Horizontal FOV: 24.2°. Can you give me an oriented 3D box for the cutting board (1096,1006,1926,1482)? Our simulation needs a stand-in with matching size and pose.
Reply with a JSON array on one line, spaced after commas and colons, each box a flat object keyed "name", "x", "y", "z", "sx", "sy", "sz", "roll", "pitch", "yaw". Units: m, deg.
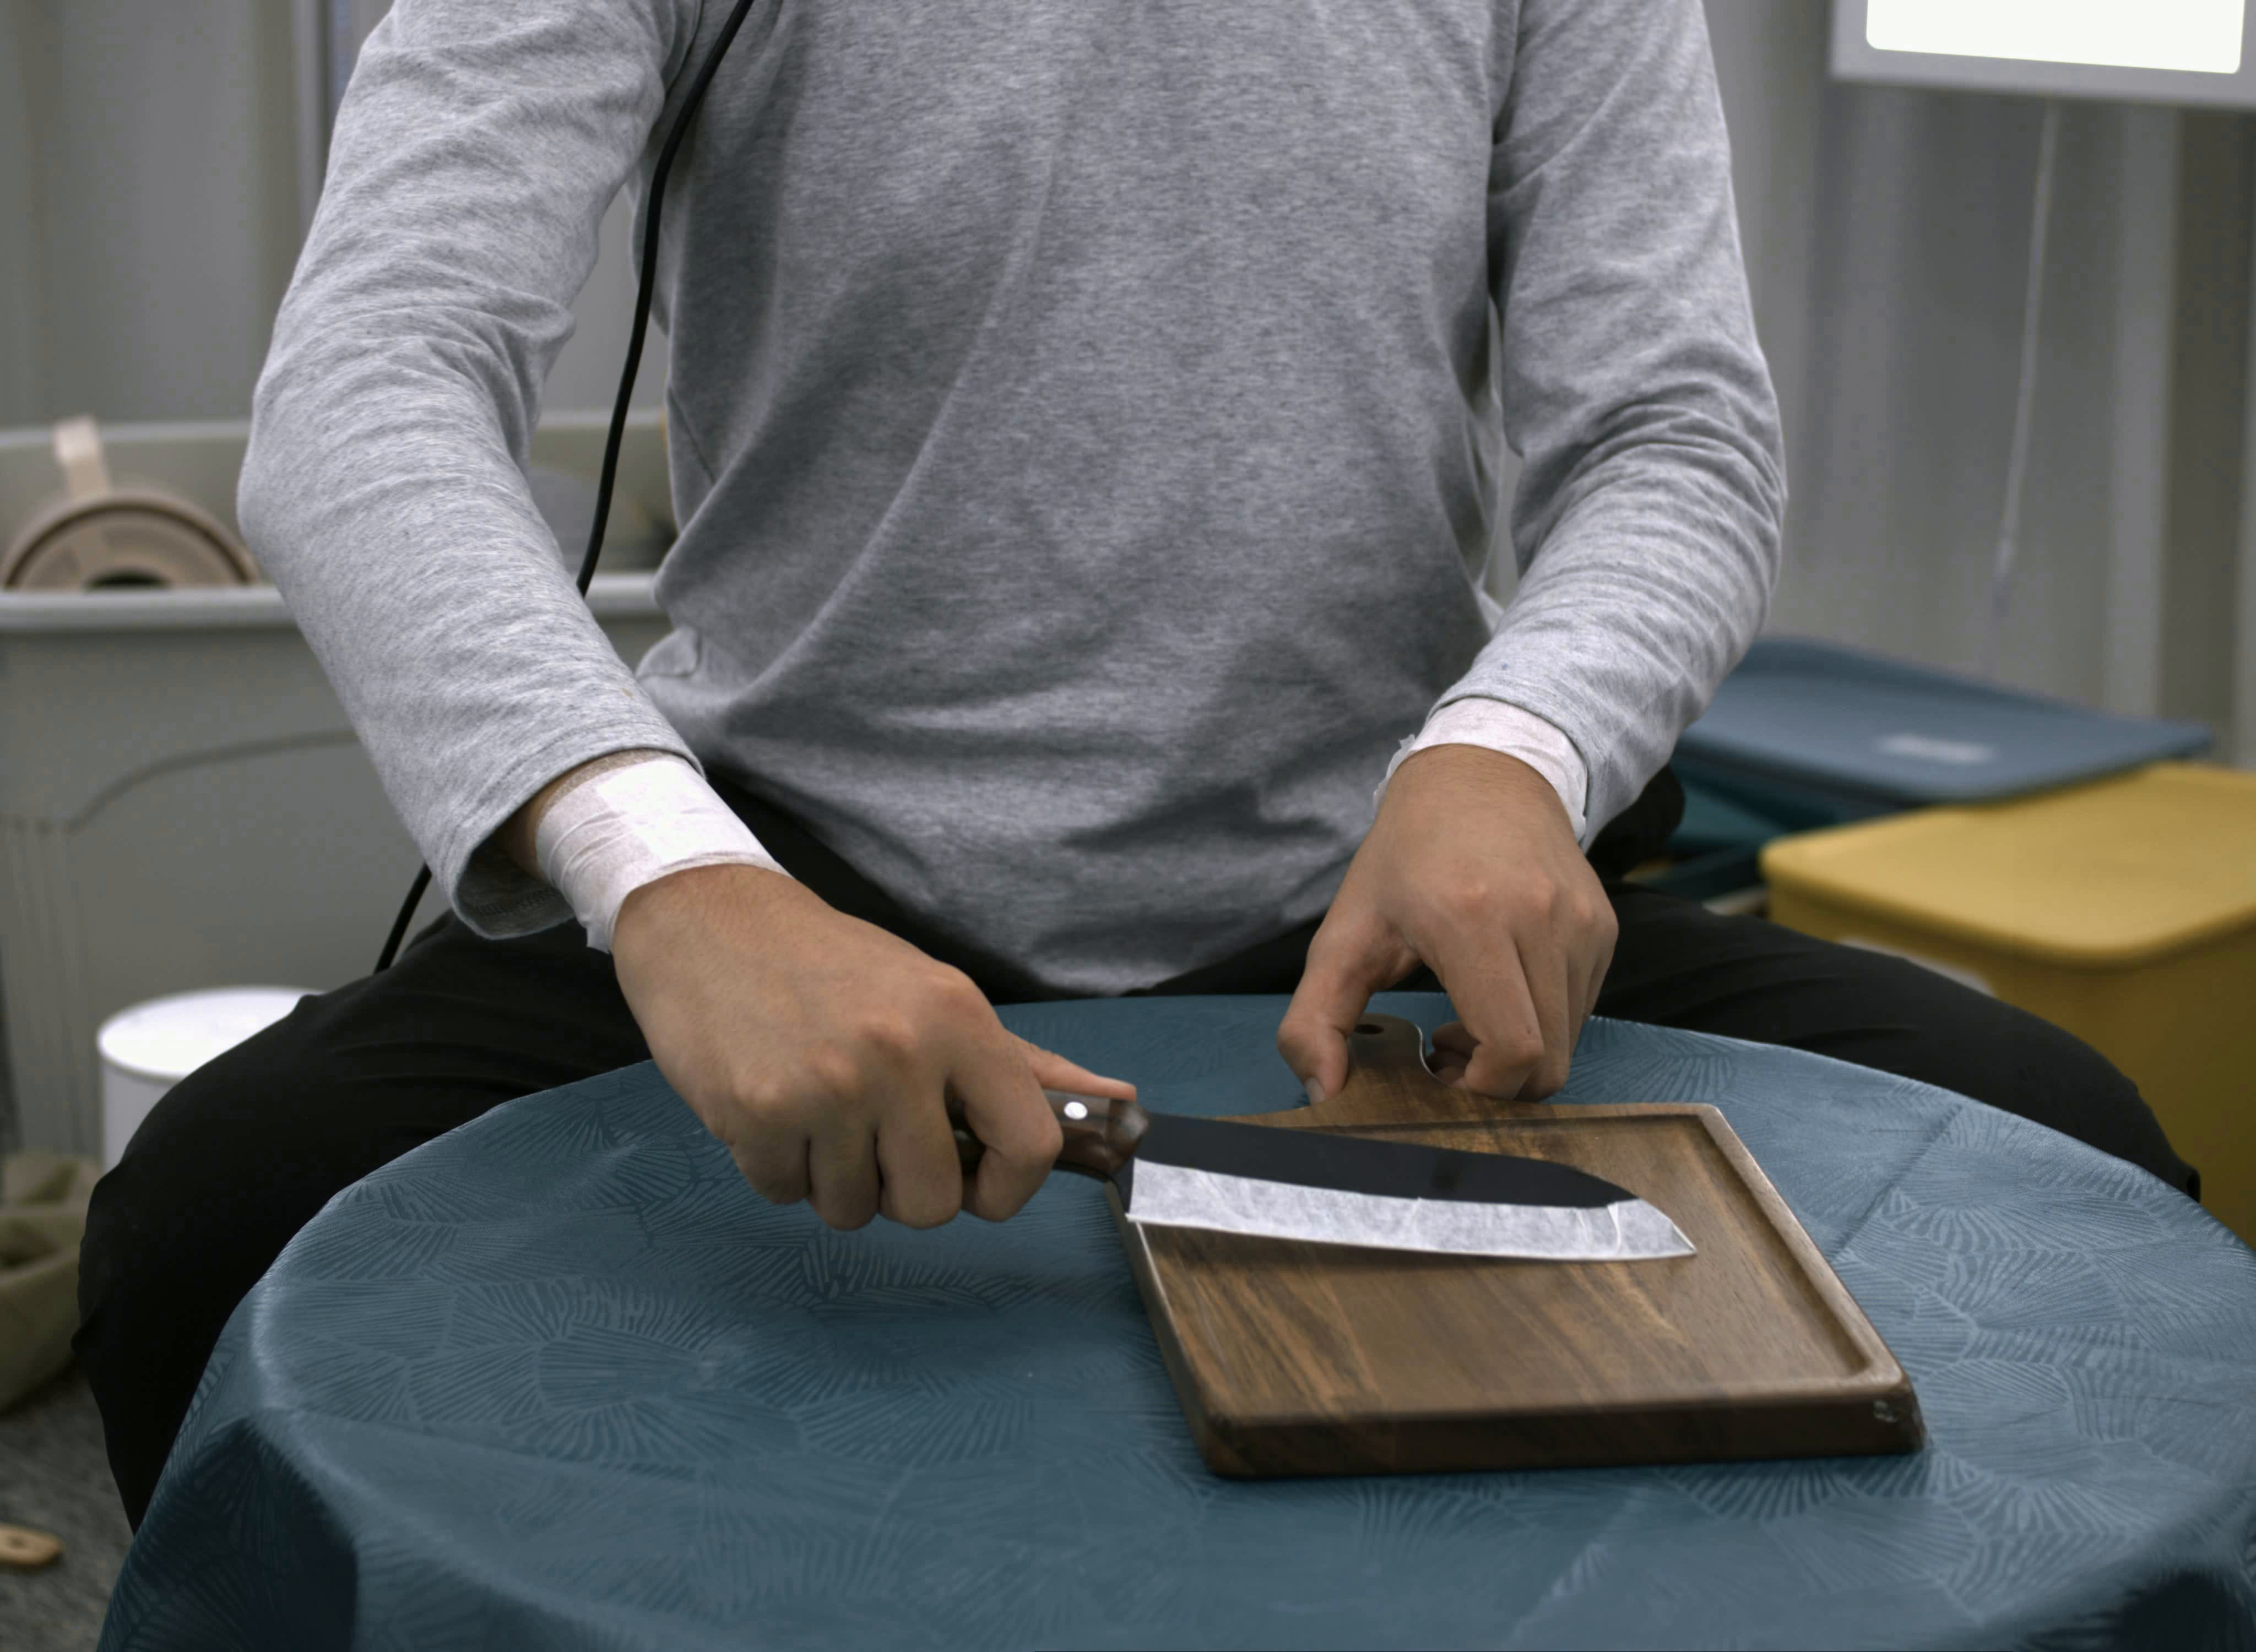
[{"name": "cutting board", "x": 0.097, "y": 0.116, "z": 1.572, "sx": 0.201, "sy": 0.023, "sz": 0.349, "roll": -1, "pitch": 16, "yaw": -8}]

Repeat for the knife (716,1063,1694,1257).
[{"name": "knife", "x": 0.022, "y": 0.099, "z": 1.530, "sx": 0.288, "sy": 0.020, "sz": 0.050, "roll": 8, "pitch": 45, "yaw": -2}]
